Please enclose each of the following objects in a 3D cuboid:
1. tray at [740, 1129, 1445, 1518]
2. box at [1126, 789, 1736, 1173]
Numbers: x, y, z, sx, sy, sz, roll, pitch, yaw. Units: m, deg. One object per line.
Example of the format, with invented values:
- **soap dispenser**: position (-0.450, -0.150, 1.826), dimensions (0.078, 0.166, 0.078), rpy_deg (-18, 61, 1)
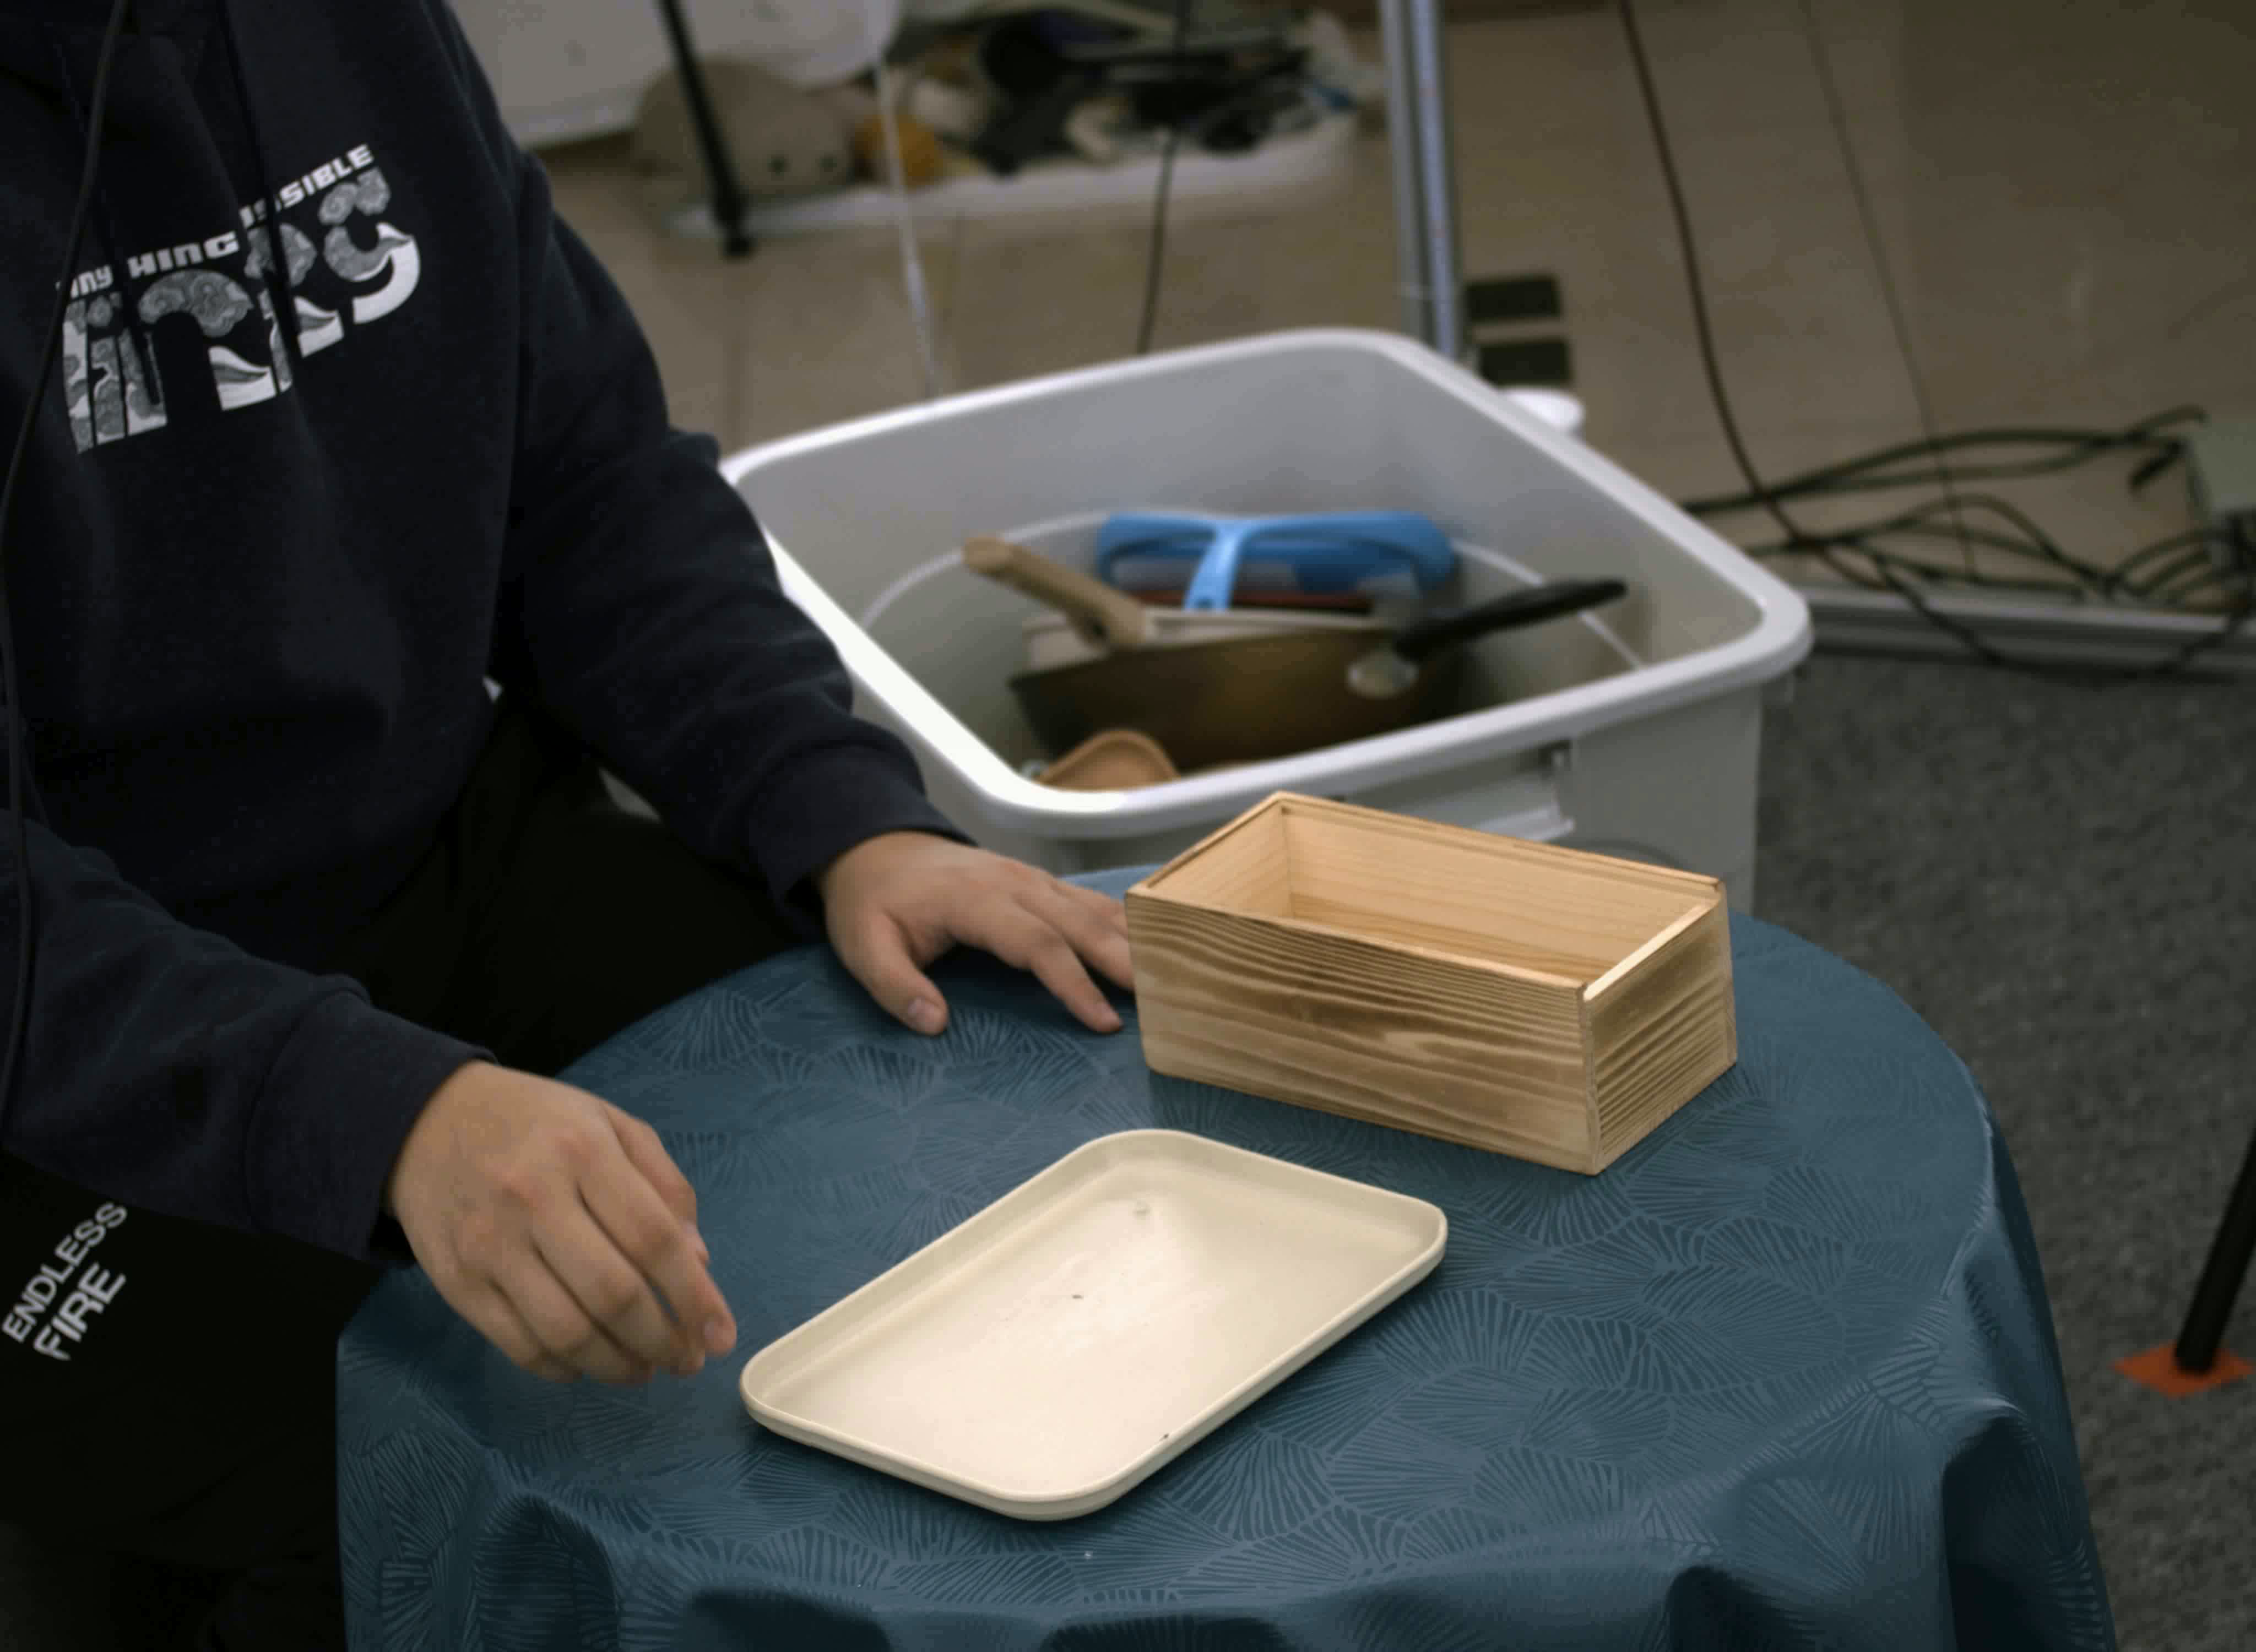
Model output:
- **tray**: position (-0.011, 0.178, 2.045), dimensions (0.170, 0.018, 0.237), rpy_deg (14, 31, 38)
- **box**: position (0.117, 0.057, 2.200), dimensions (0.210, 0.081, 0.106), rpy_deg (12, 30, 35)
